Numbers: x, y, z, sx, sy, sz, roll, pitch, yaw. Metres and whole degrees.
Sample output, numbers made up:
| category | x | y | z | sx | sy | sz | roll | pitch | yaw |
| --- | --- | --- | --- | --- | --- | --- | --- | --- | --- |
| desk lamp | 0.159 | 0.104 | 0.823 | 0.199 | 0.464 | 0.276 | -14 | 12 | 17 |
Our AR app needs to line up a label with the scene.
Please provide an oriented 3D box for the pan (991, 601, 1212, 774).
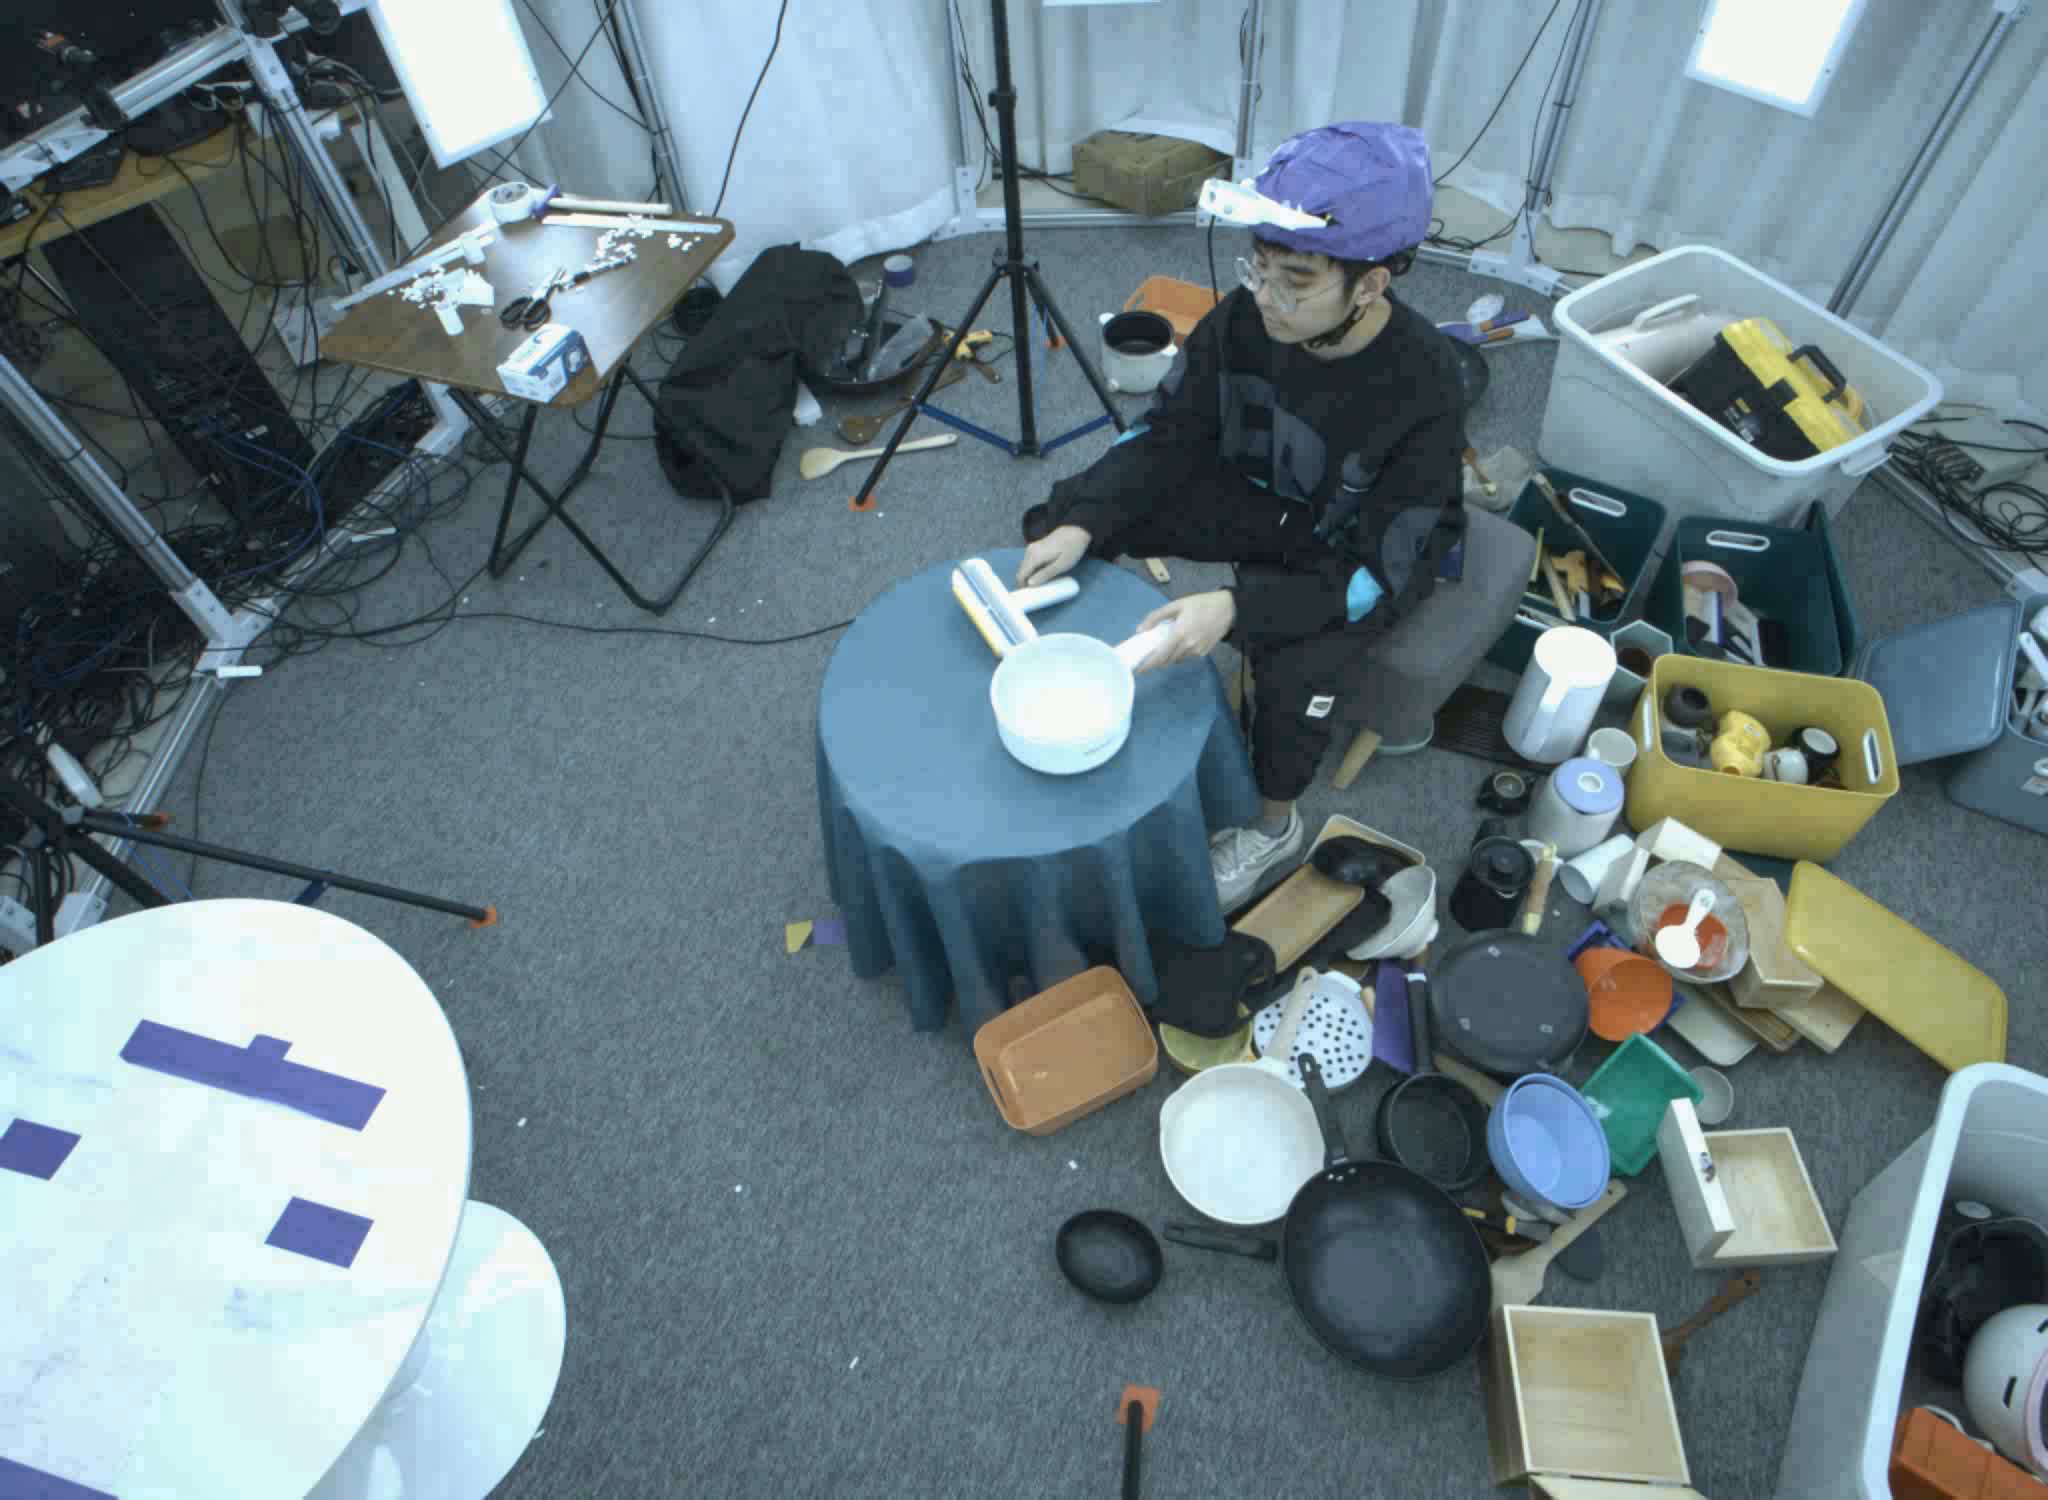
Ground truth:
| category | x | y | z | sx | sy | sz | roll | pitch | yaw |
| --- | --- | --- | --- | --- | --- | --- | --- | --- | --- |
| pan | 0.120 | -0.099 | 1.786 | 0.357 | 0.103 | 0.197 | -31 | 59 | -18 |

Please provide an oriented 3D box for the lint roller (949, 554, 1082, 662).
| category | x | y | z | sx | sy | sz | roll | pitch | yaw |
| --- | --- | --- | --- | --- | --- | --- | --- | --- | --- |
| lint roller | 0.003 | -0.237 | 1.909 | 0.194 | 0.075 | 0.189 | -24 | 62 | -16 |
